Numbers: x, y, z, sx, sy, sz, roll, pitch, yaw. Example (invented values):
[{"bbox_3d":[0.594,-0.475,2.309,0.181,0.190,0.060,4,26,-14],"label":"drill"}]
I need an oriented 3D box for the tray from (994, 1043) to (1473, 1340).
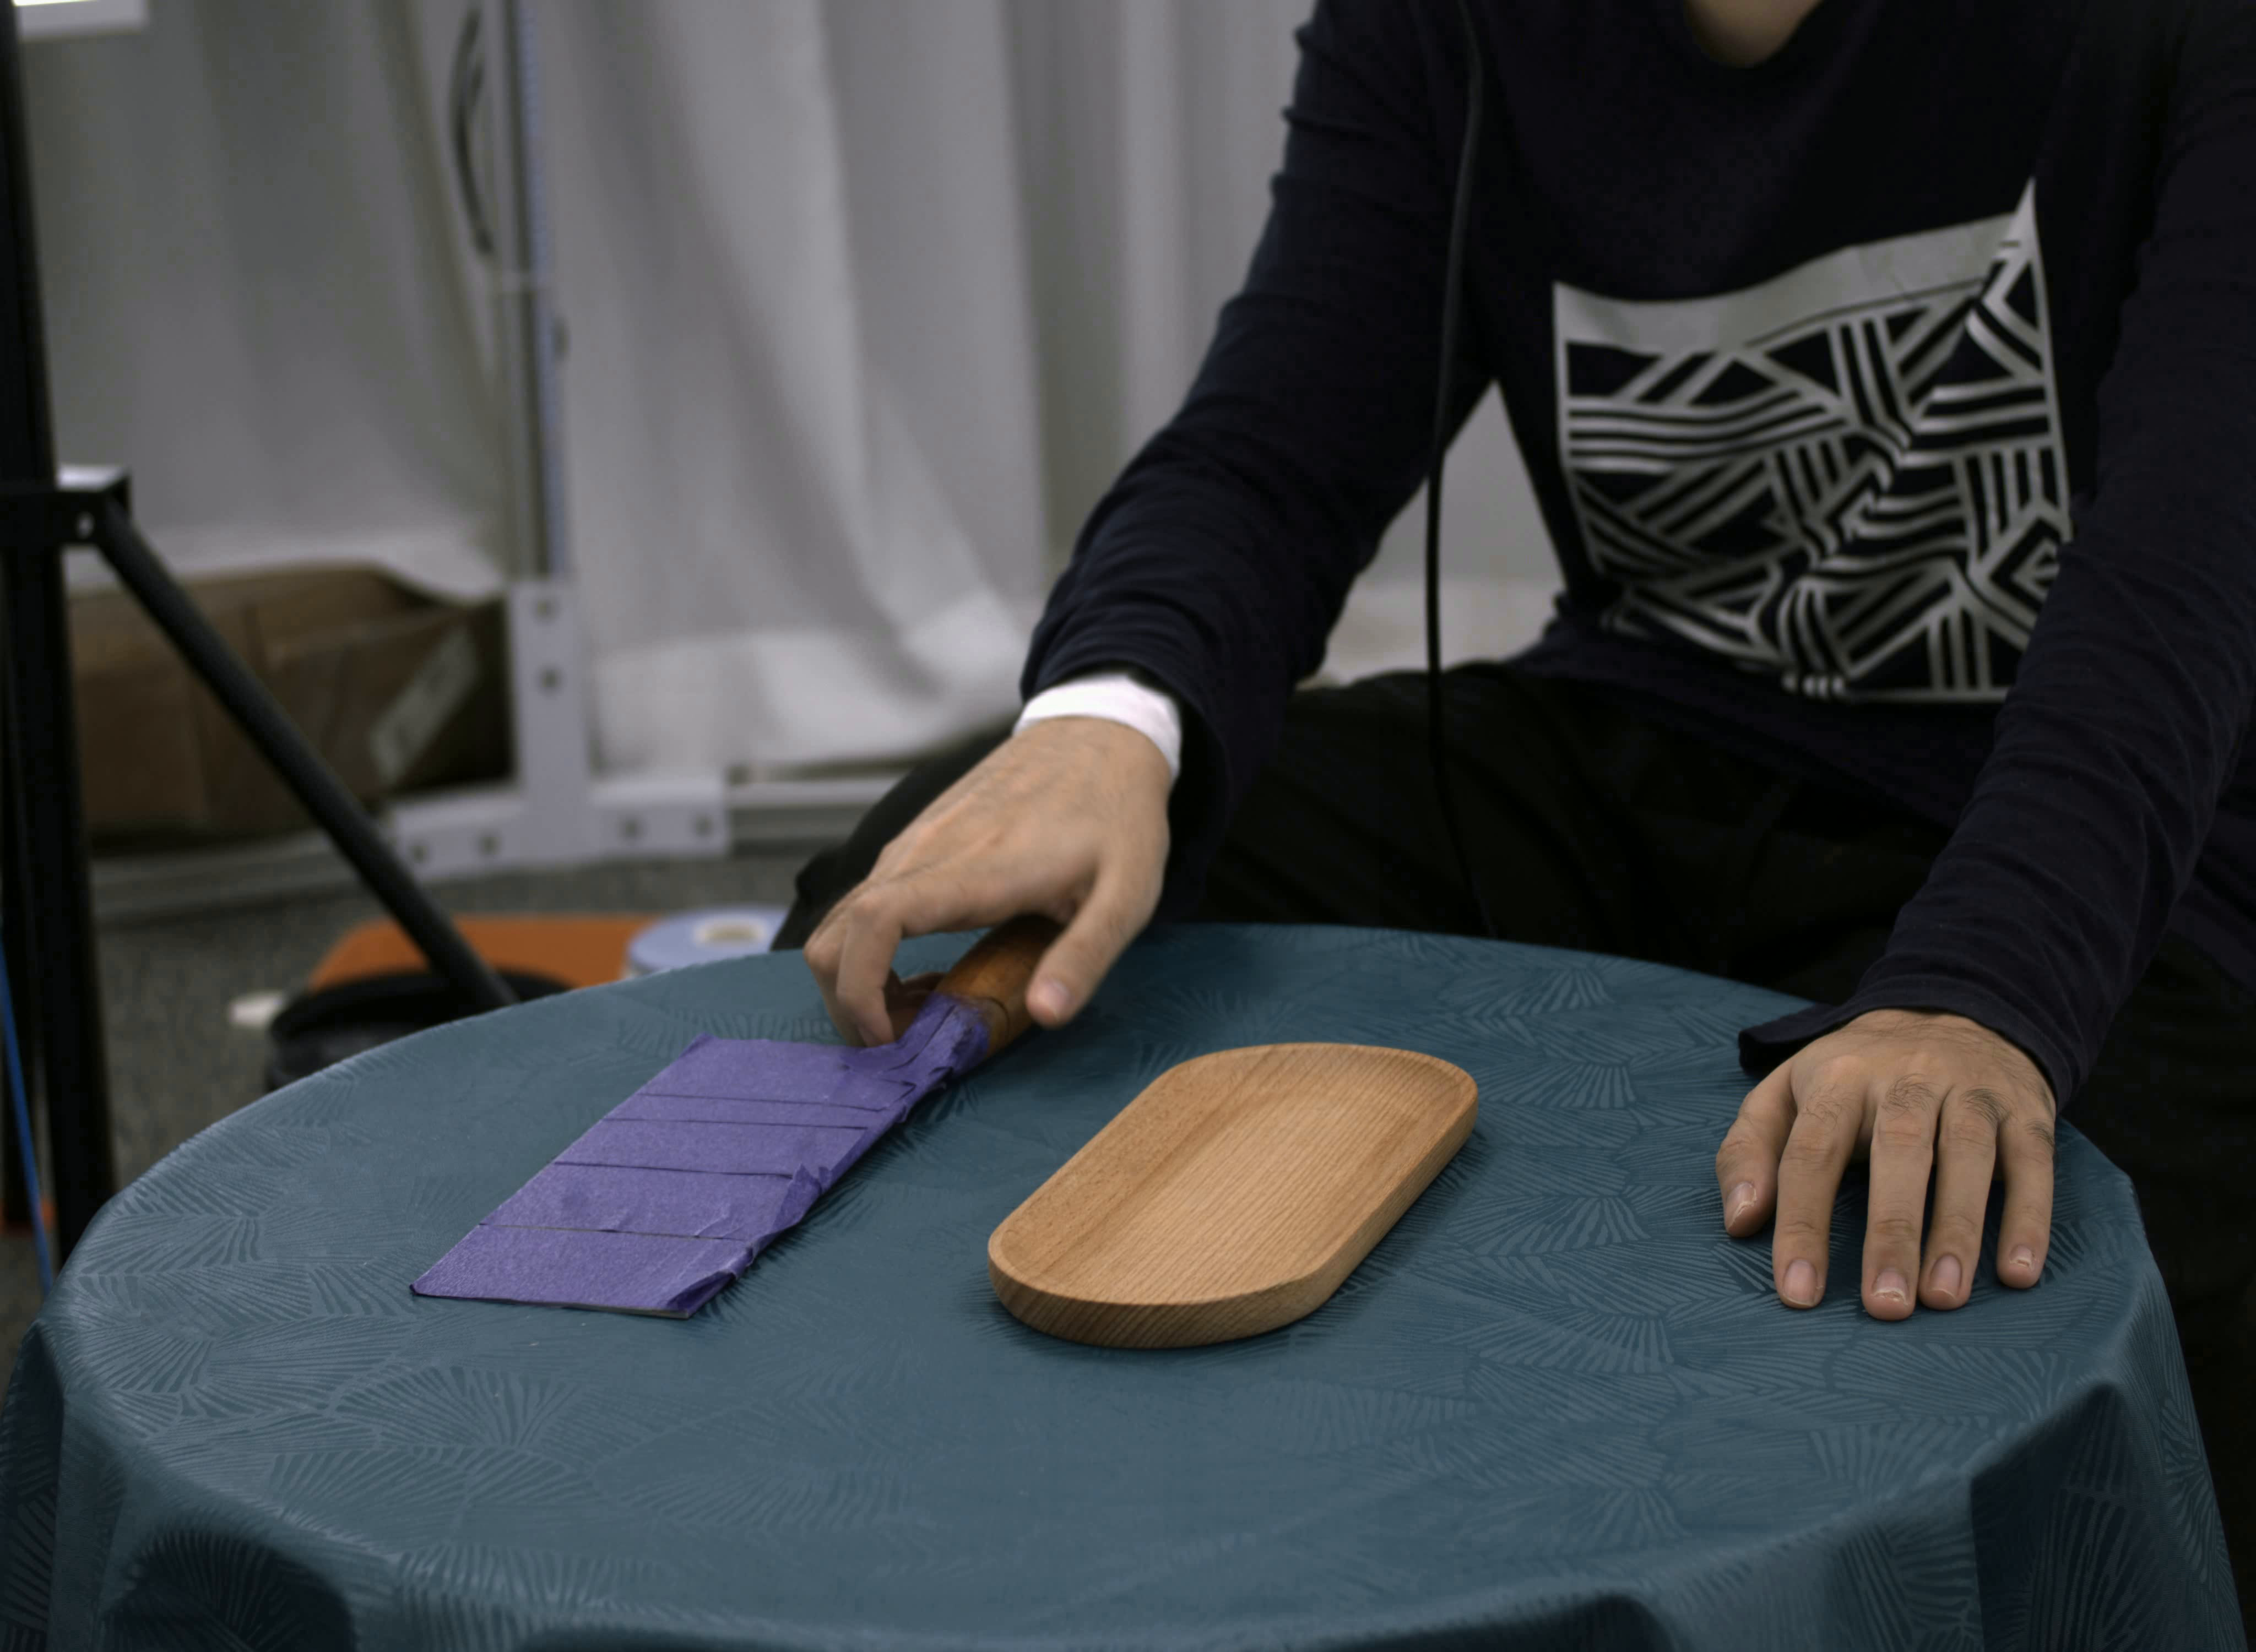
[{"bbox_3d":[0.034,0.104,1.542,0.103,0.020,0.228,4,15,18],"label":"tray"}]

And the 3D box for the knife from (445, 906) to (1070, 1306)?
[{"bbox_3d":[-0.109,0.081,1.624,0.105,0.032,0.312,4,17,19],"label":"knife"}]
